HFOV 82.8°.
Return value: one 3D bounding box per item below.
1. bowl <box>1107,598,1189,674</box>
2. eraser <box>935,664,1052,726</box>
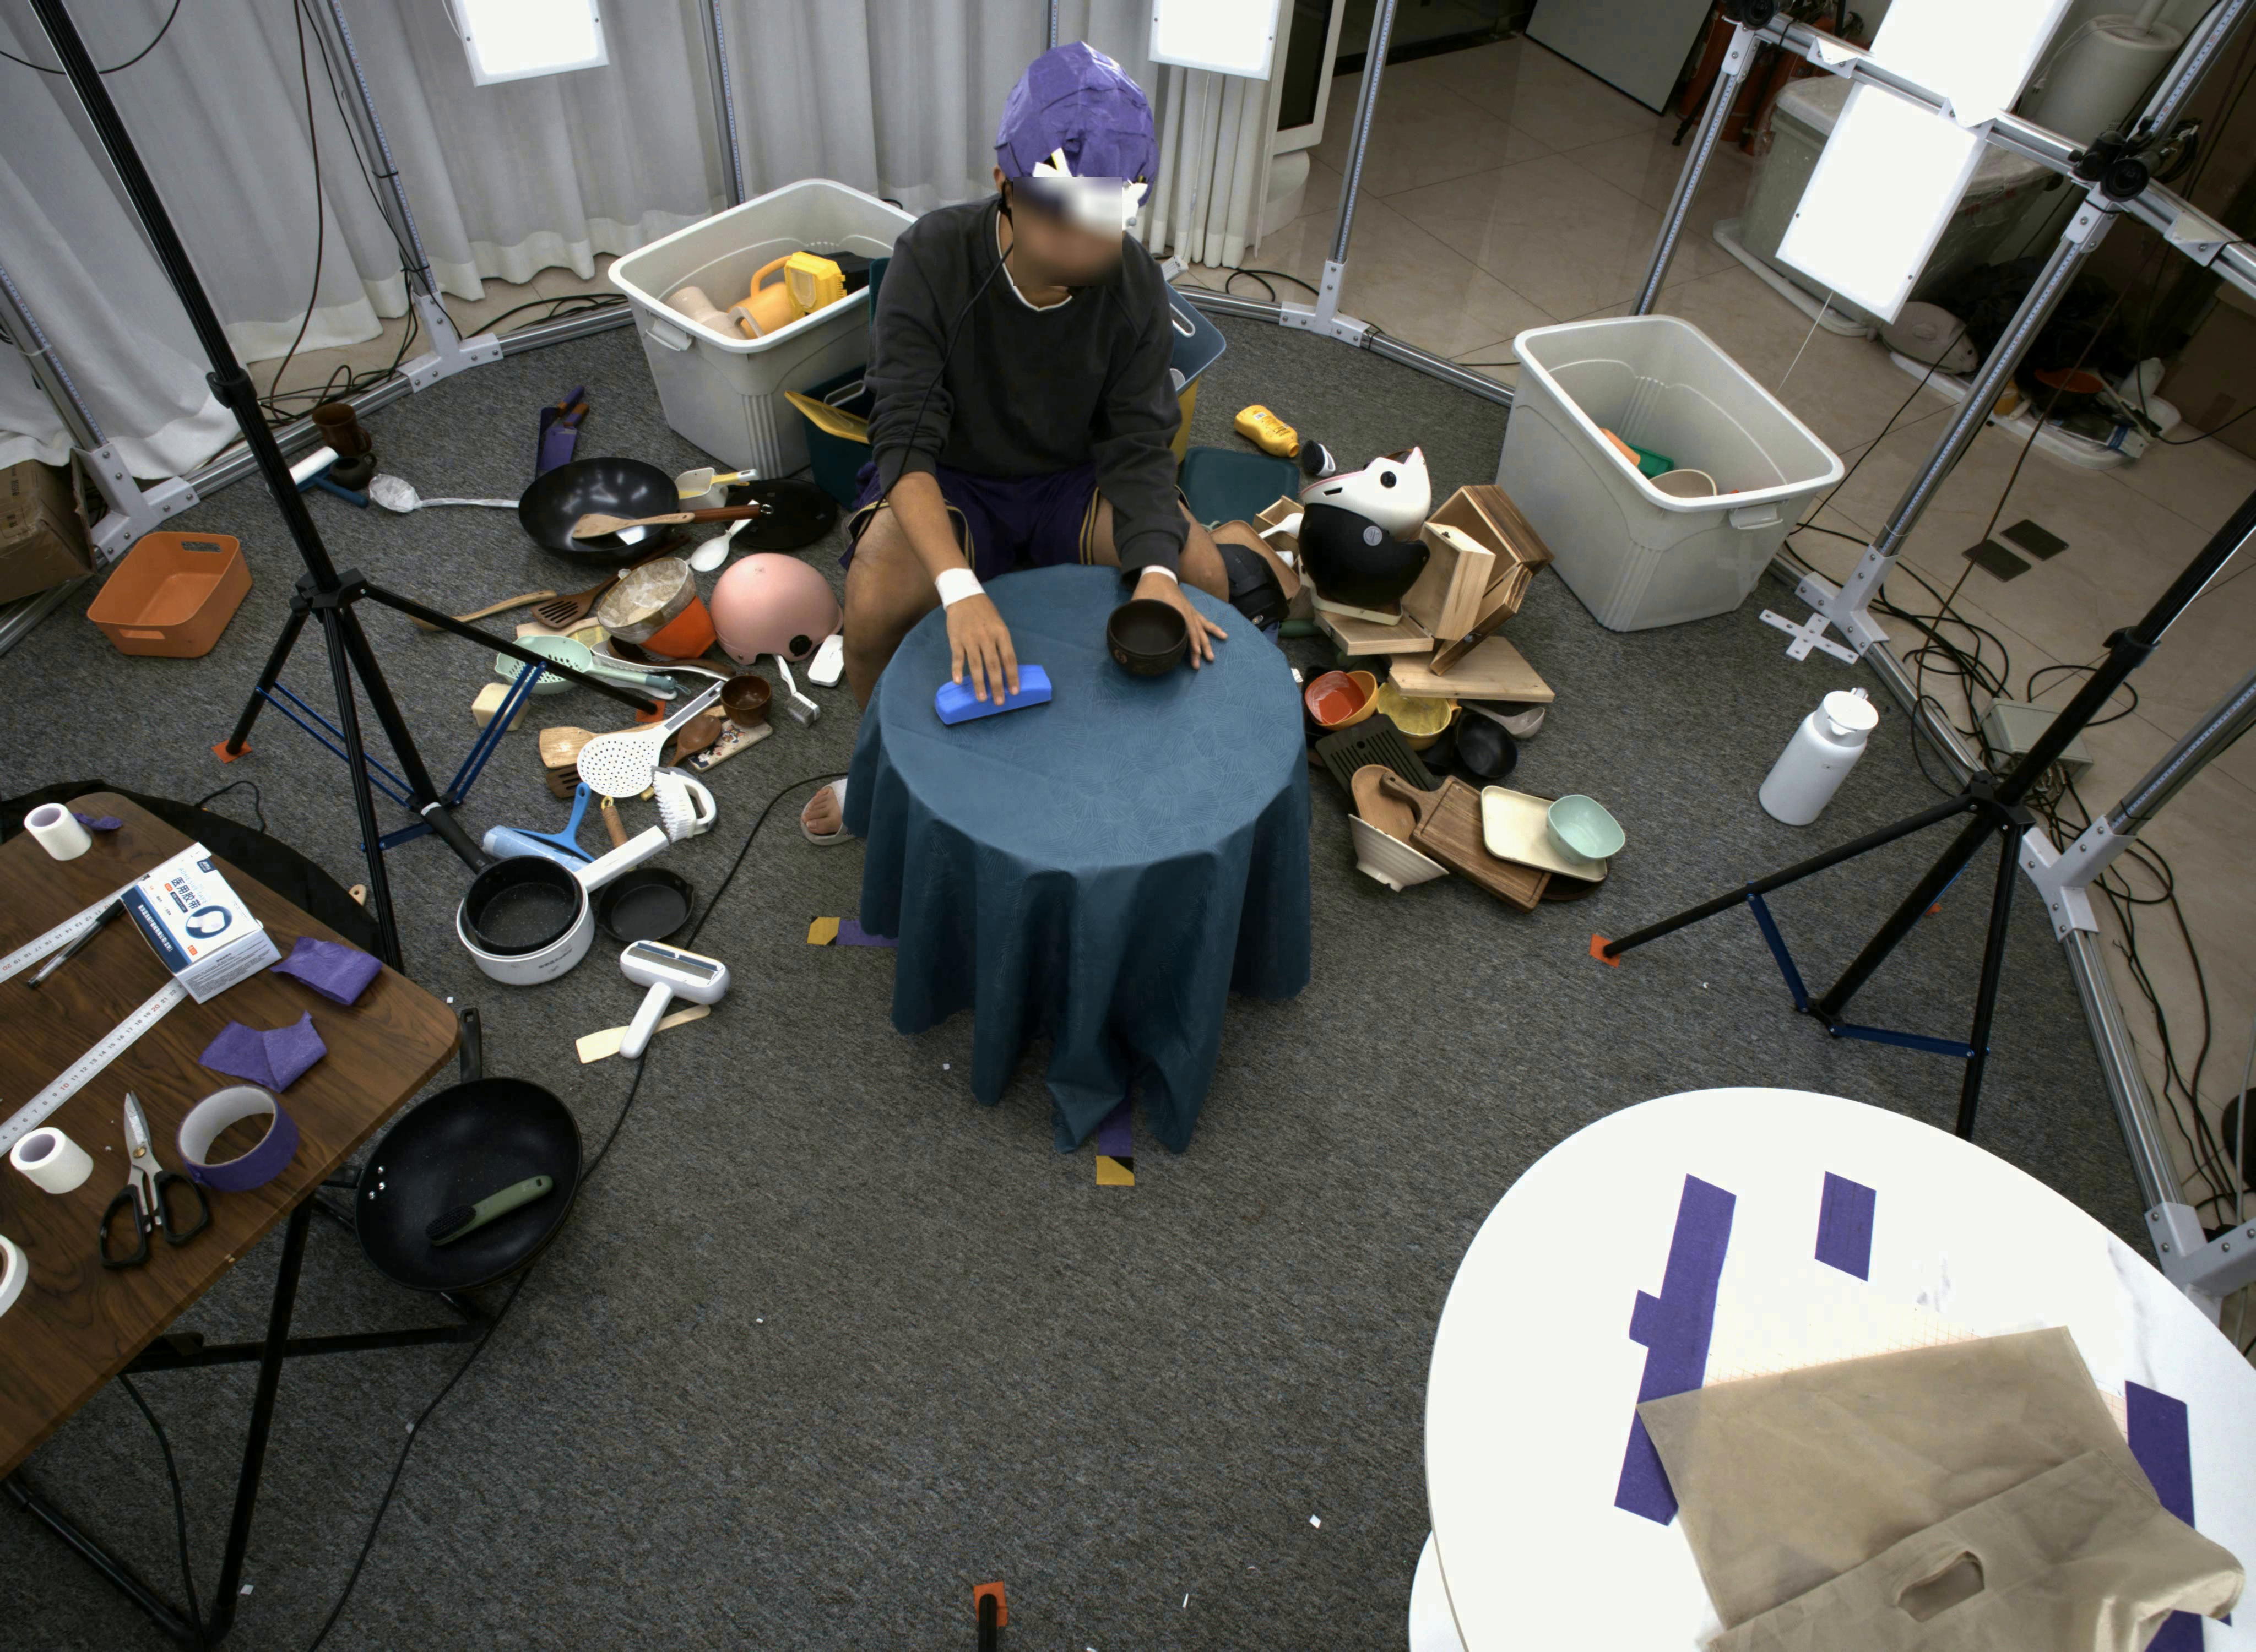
[{"bbox_3d":[0.027,-0.265,1.850,0.118,0.068,0.121,1,50,-1],"label":"bowl"},{"bbox_3d":[-0.186,-0.187,1.786,0.162,0.046,0.055,-16,55,-17],"label":"eraser"}]
